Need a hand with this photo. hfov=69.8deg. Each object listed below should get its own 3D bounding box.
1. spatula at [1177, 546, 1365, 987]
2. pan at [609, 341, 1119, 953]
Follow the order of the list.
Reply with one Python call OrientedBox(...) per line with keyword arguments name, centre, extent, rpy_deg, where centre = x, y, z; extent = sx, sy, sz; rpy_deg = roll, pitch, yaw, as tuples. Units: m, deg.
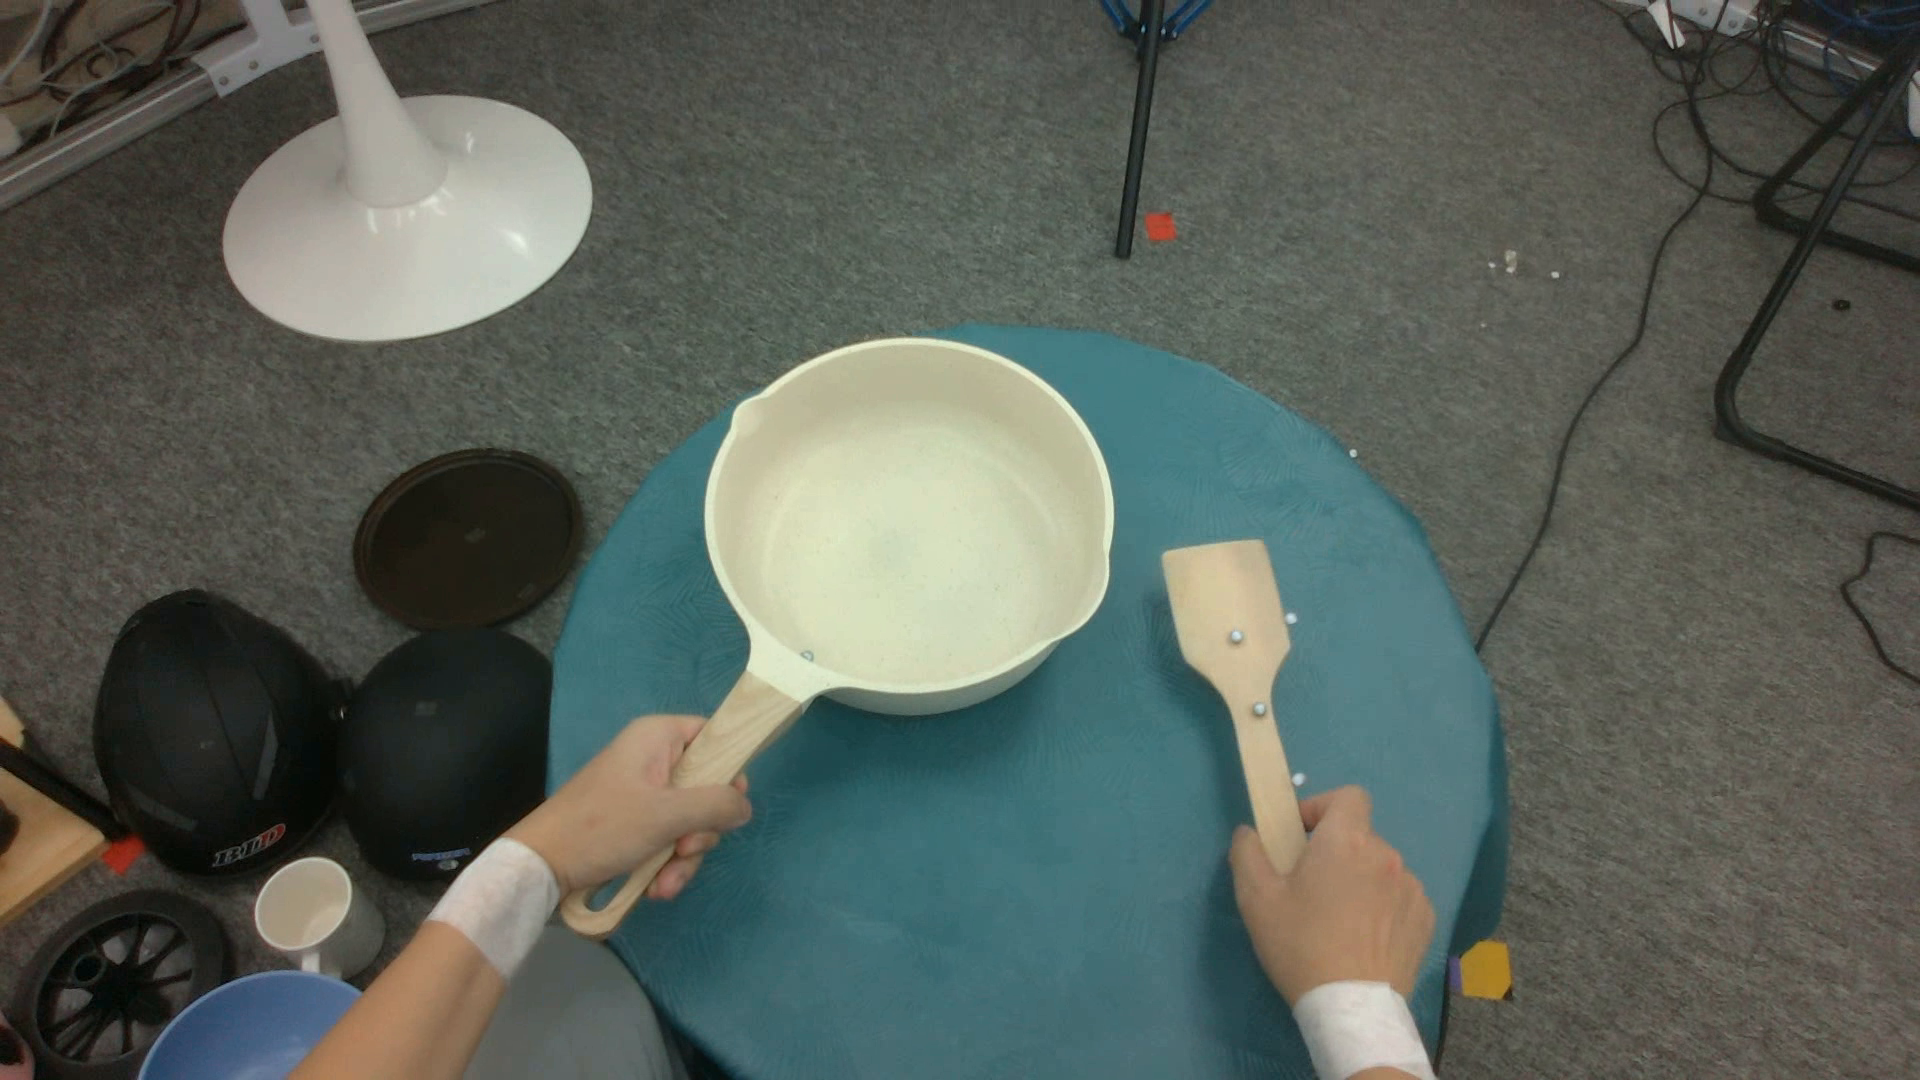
OrientedBox(name="spatula", centre=(0.194, 0.125, 0.832), extent=(0.072, 0.010, 0.294), rpy_deg=(-8, 53, 1))
OrientedBox(name="pan", centre=(-0.072, 0.064, 0.846), extent=(0.263, 0.101, 0.436), rpy_deg=(27, 64, 13))
